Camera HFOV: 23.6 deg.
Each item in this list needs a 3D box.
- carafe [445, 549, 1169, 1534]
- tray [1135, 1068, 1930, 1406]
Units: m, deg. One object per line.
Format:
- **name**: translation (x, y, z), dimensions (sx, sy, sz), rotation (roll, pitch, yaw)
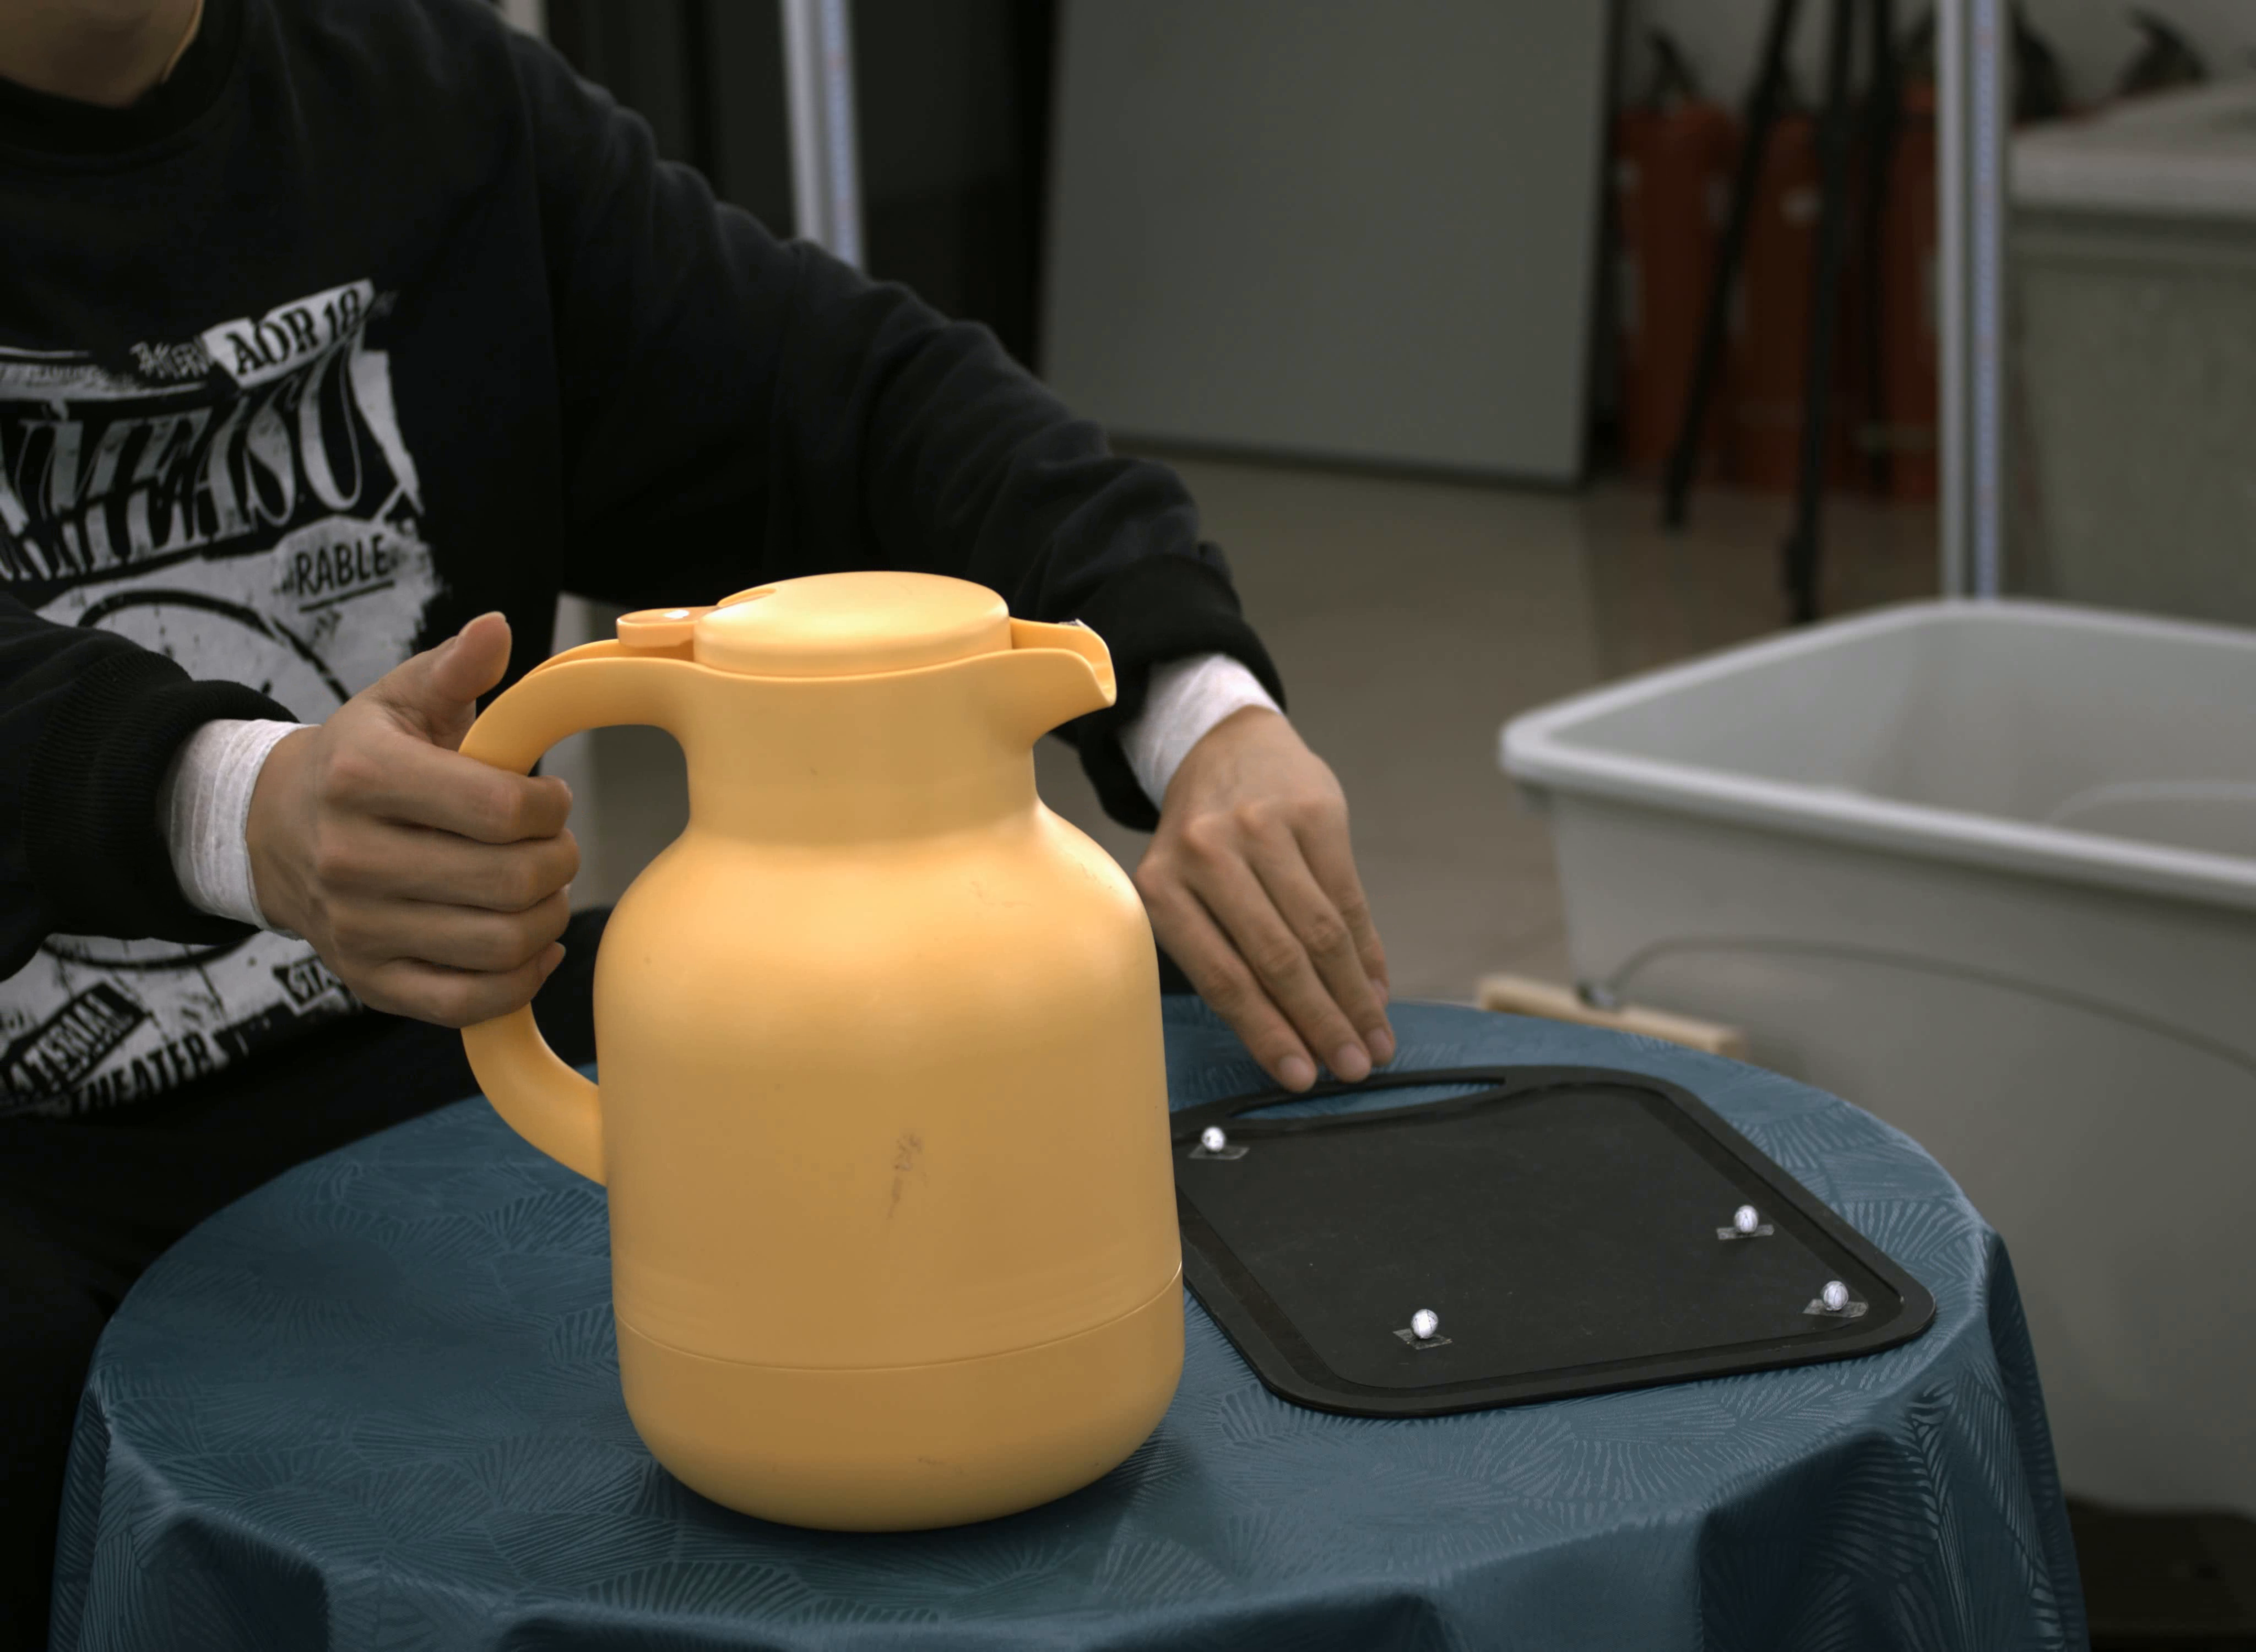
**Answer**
- **carafe**: translation (-0.090, 0.055, 1.519), dimensions (0.201, 0.263, 0.162), rotation (1, 12, 14)
- **tray**: translation (0.113, 0.124, 1.715), dimensions (0.207, 0.010, 0.327), rotation (-7, 14, -11)
